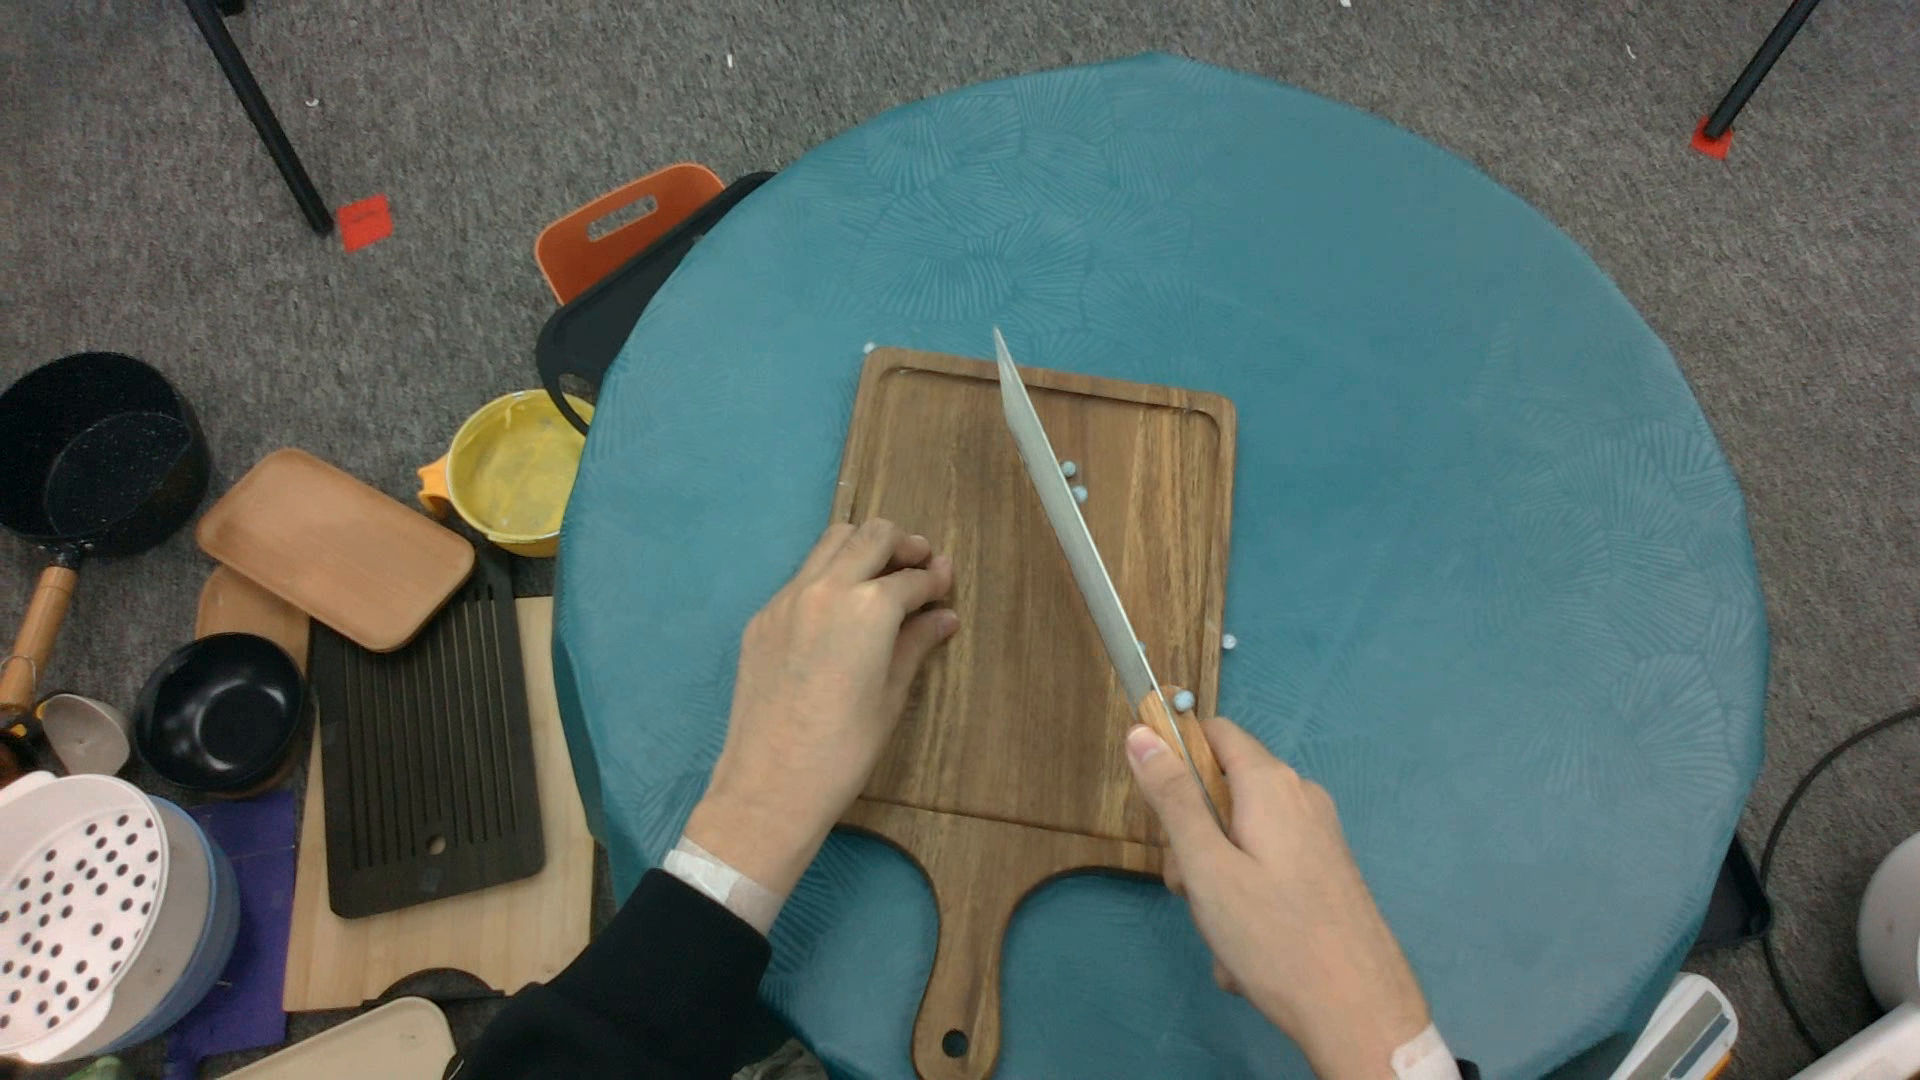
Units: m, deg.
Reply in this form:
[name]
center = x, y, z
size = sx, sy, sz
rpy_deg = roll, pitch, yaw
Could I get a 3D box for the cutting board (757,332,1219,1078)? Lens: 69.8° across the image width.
[cutting board]
center = 0.014, 0.065, 0.648
size = 0.201, 0.023, 0.353
rpy_deg = 8, 67, 2

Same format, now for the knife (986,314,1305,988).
[knife]
center = 0.067, 0.043, 0.587
size = 0.021, 0.092, 0.306
rpy_deg = -20, 67, -4
